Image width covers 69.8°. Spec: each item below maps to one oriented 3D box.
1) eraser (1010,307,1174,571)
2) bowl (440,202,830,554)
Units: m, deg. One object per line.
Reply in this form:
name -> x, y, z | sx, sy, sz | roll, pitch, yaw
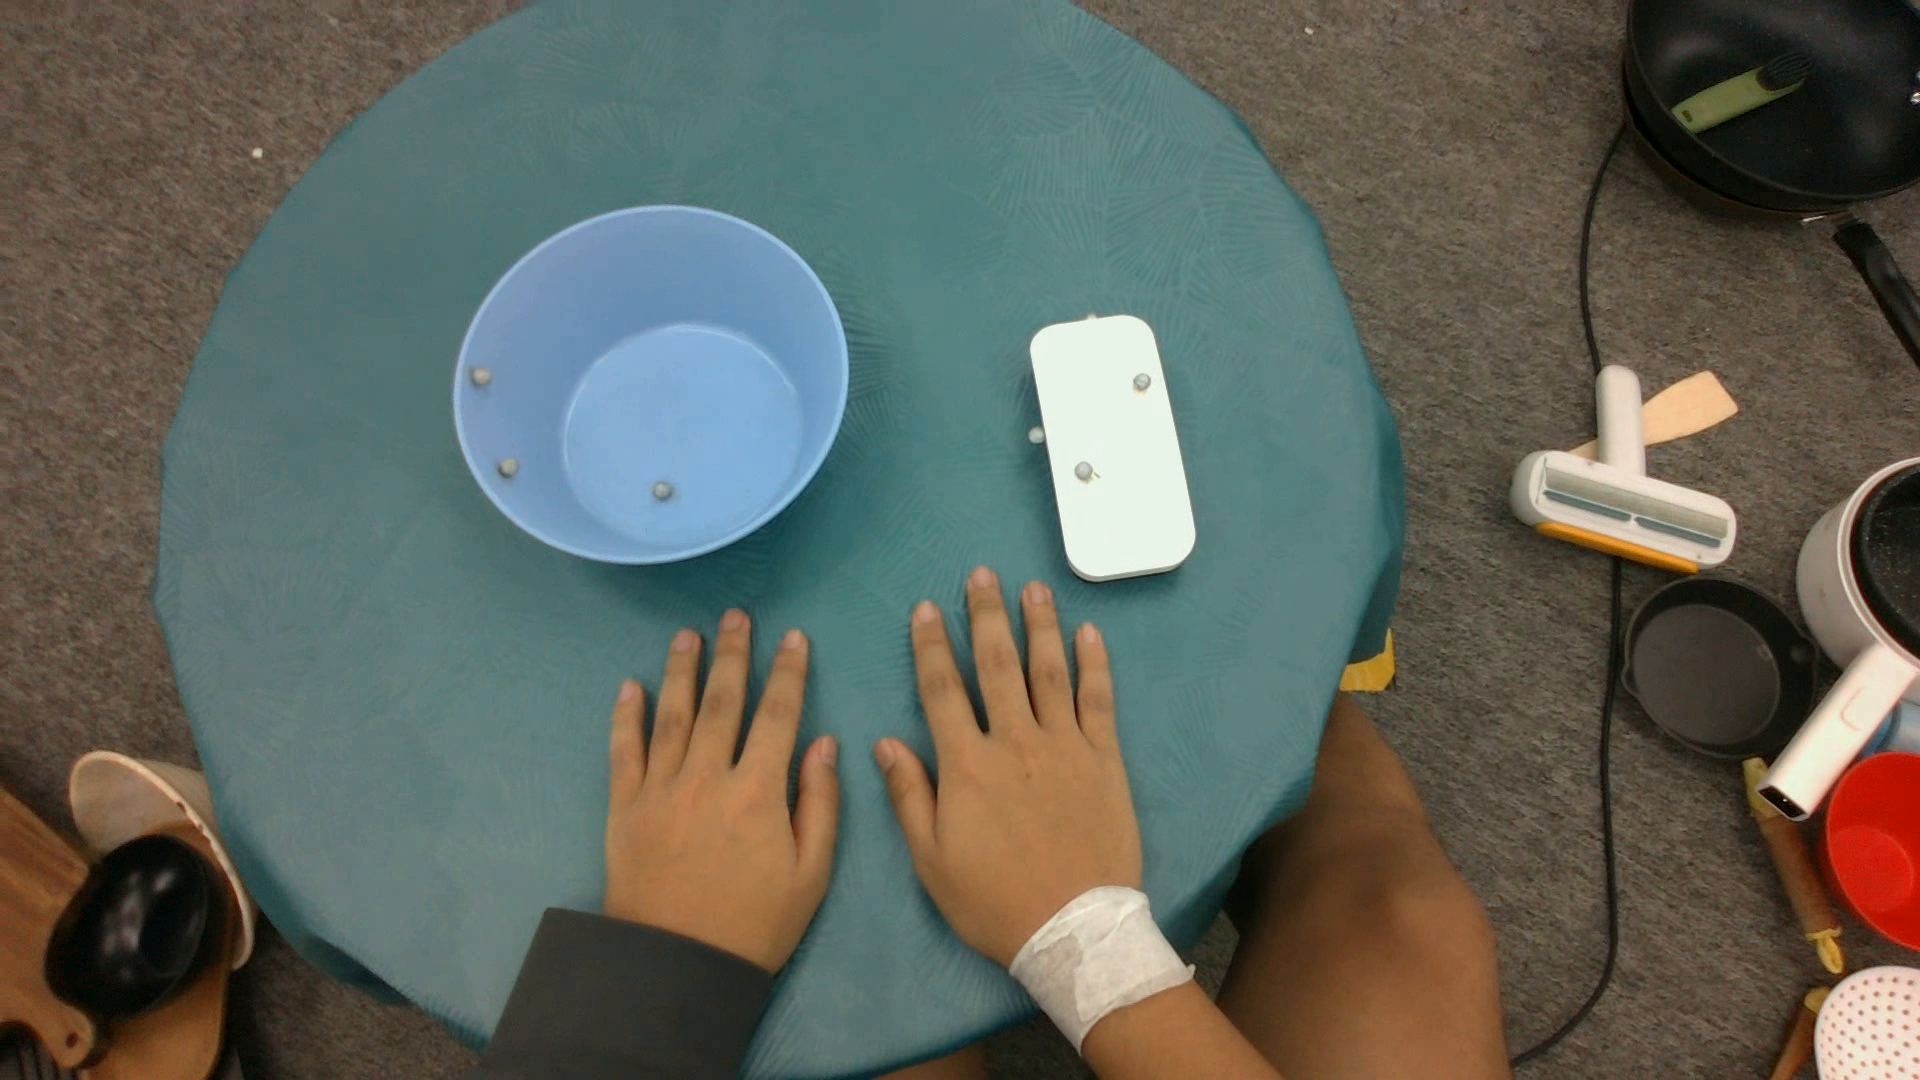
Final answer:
eraser -> 0.061, -0.050, 0.659 | 0.063, 0.034, 0.131 | -8, 68, 0
bowl -> -0.145, -0.066, 0.648 | 0.176, 0.070, 0.176 | 0, 70, 1
